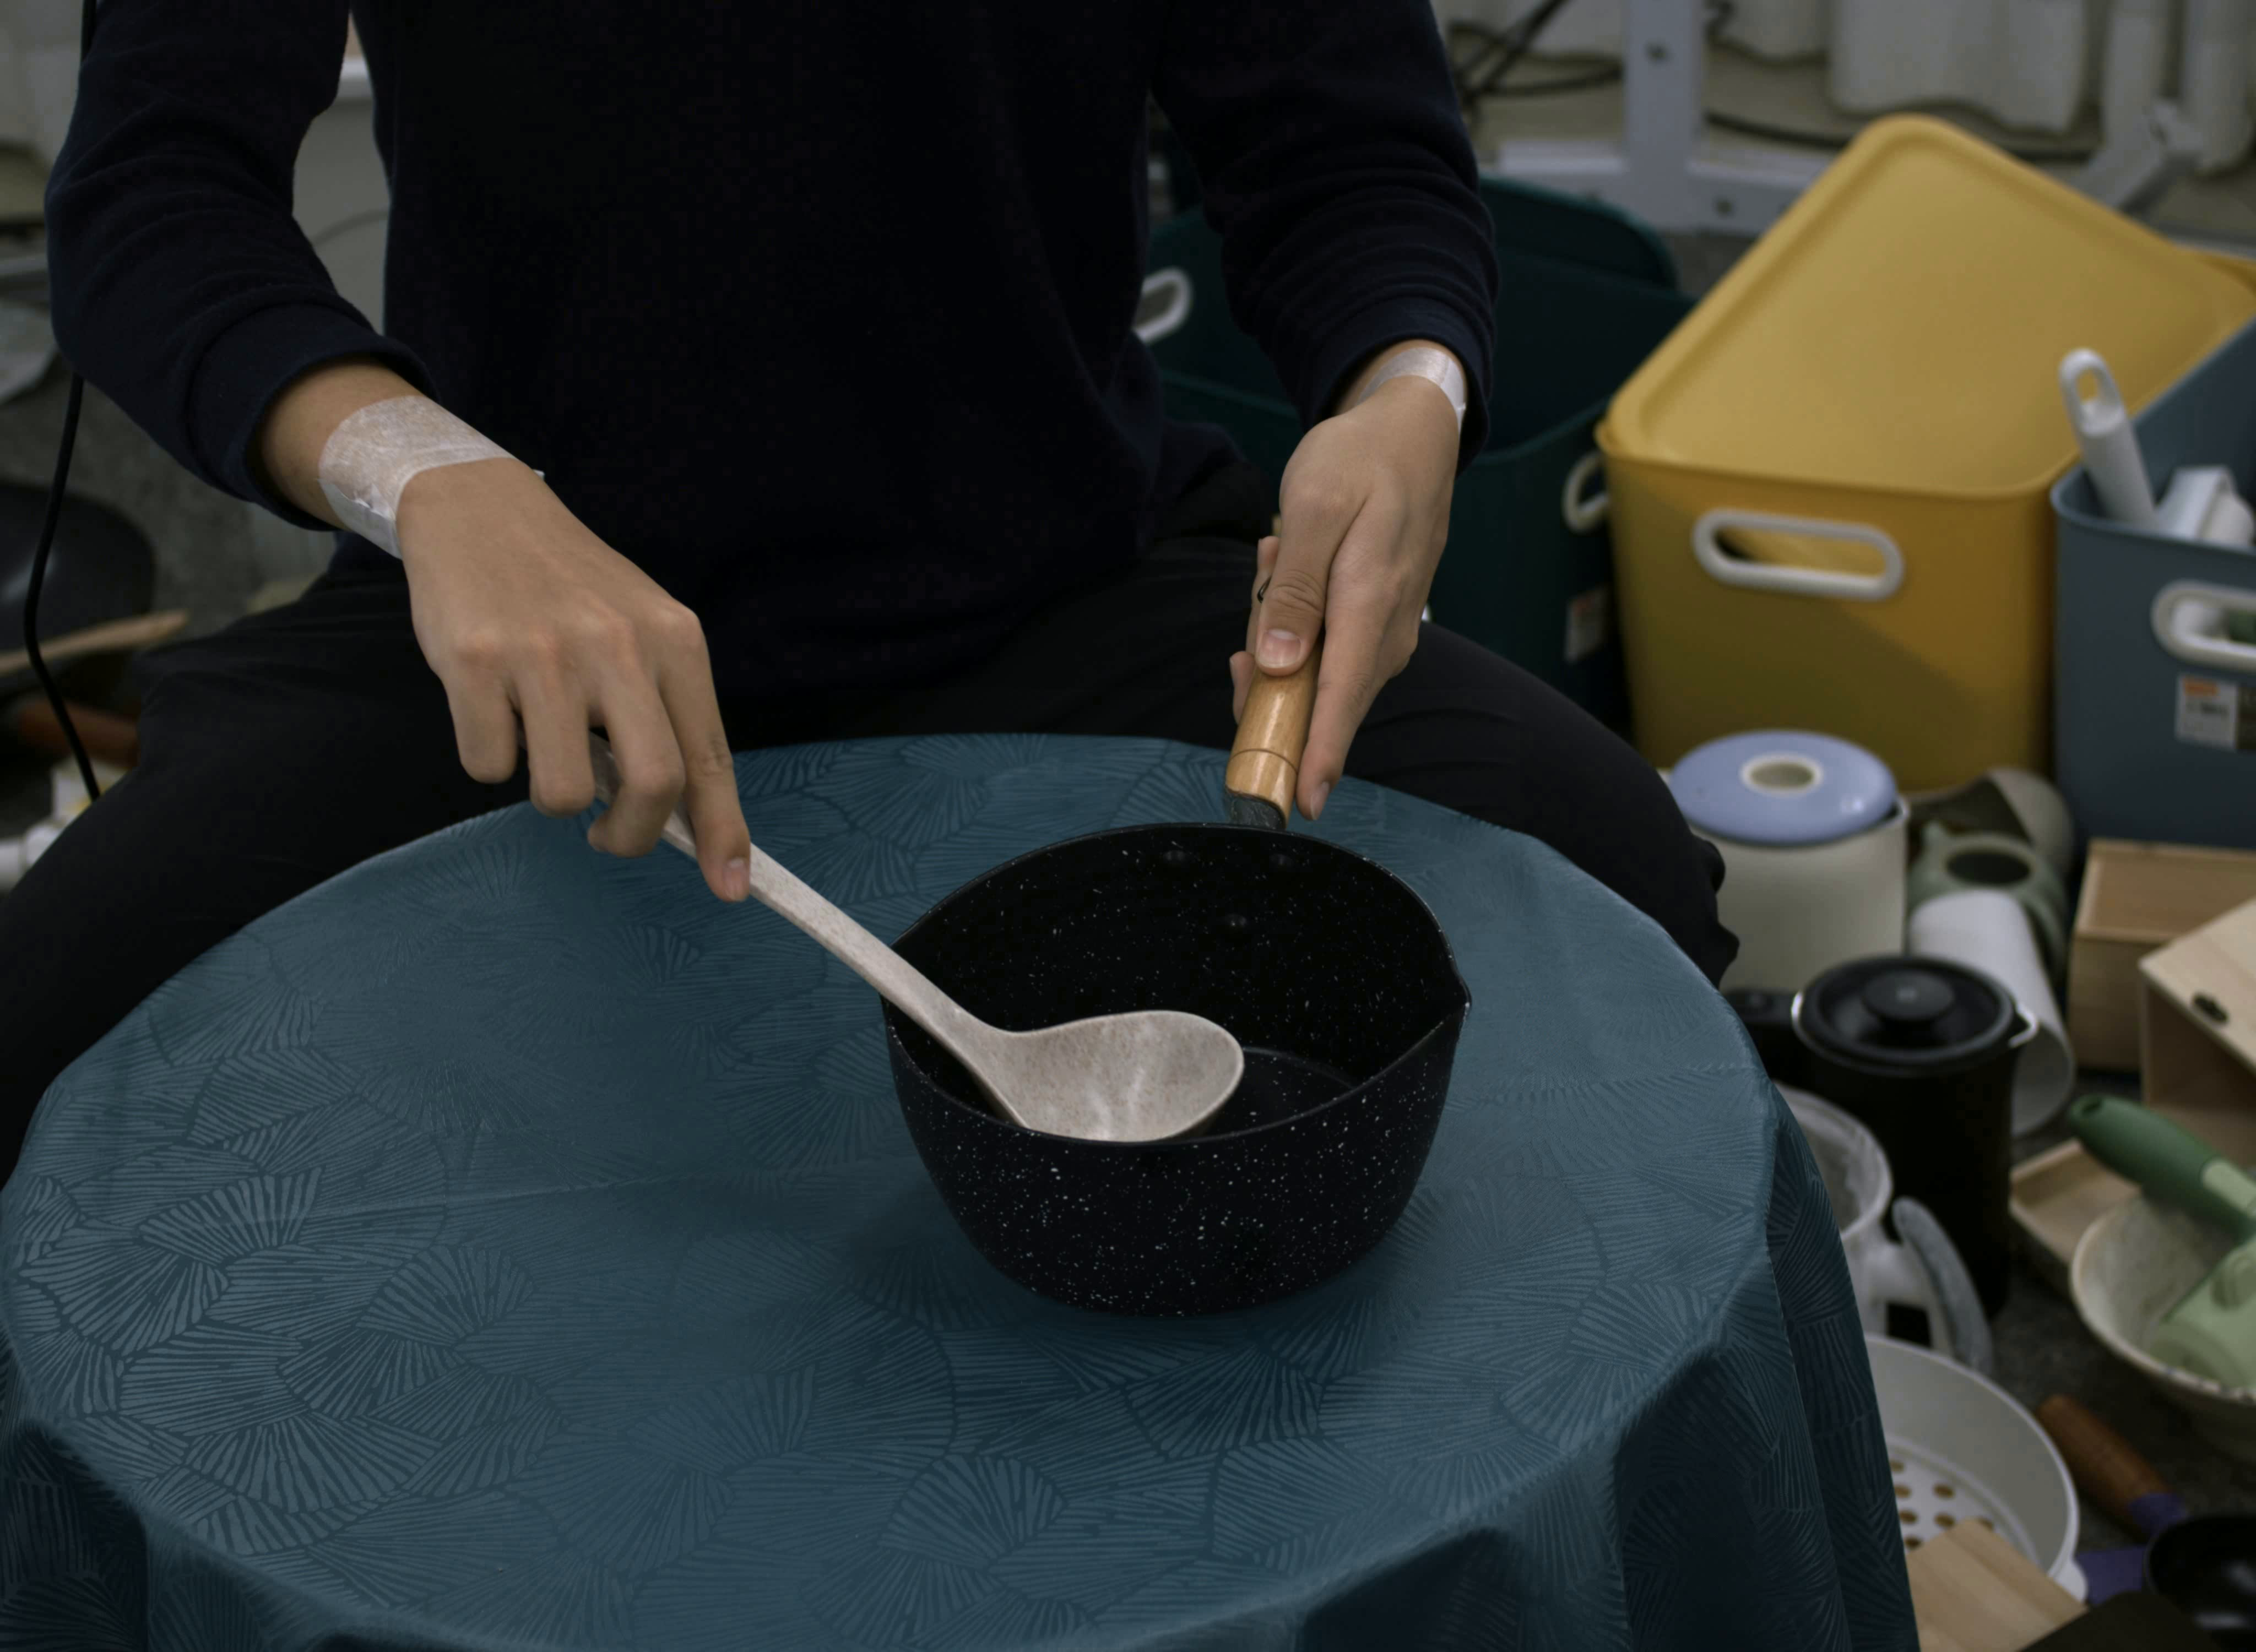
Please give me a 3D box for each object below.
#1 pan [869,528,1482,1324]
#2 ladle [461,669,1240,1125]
[{"bbox_3d":[0.032,0.031,1.894,0.206,0.107,0.349,2,34,13],"label":"pan"},{"bbox_3d":[-0.086,0.018,1.796,0.274,0.068,0.091,39,31,-13],"label":"ladle"}]
